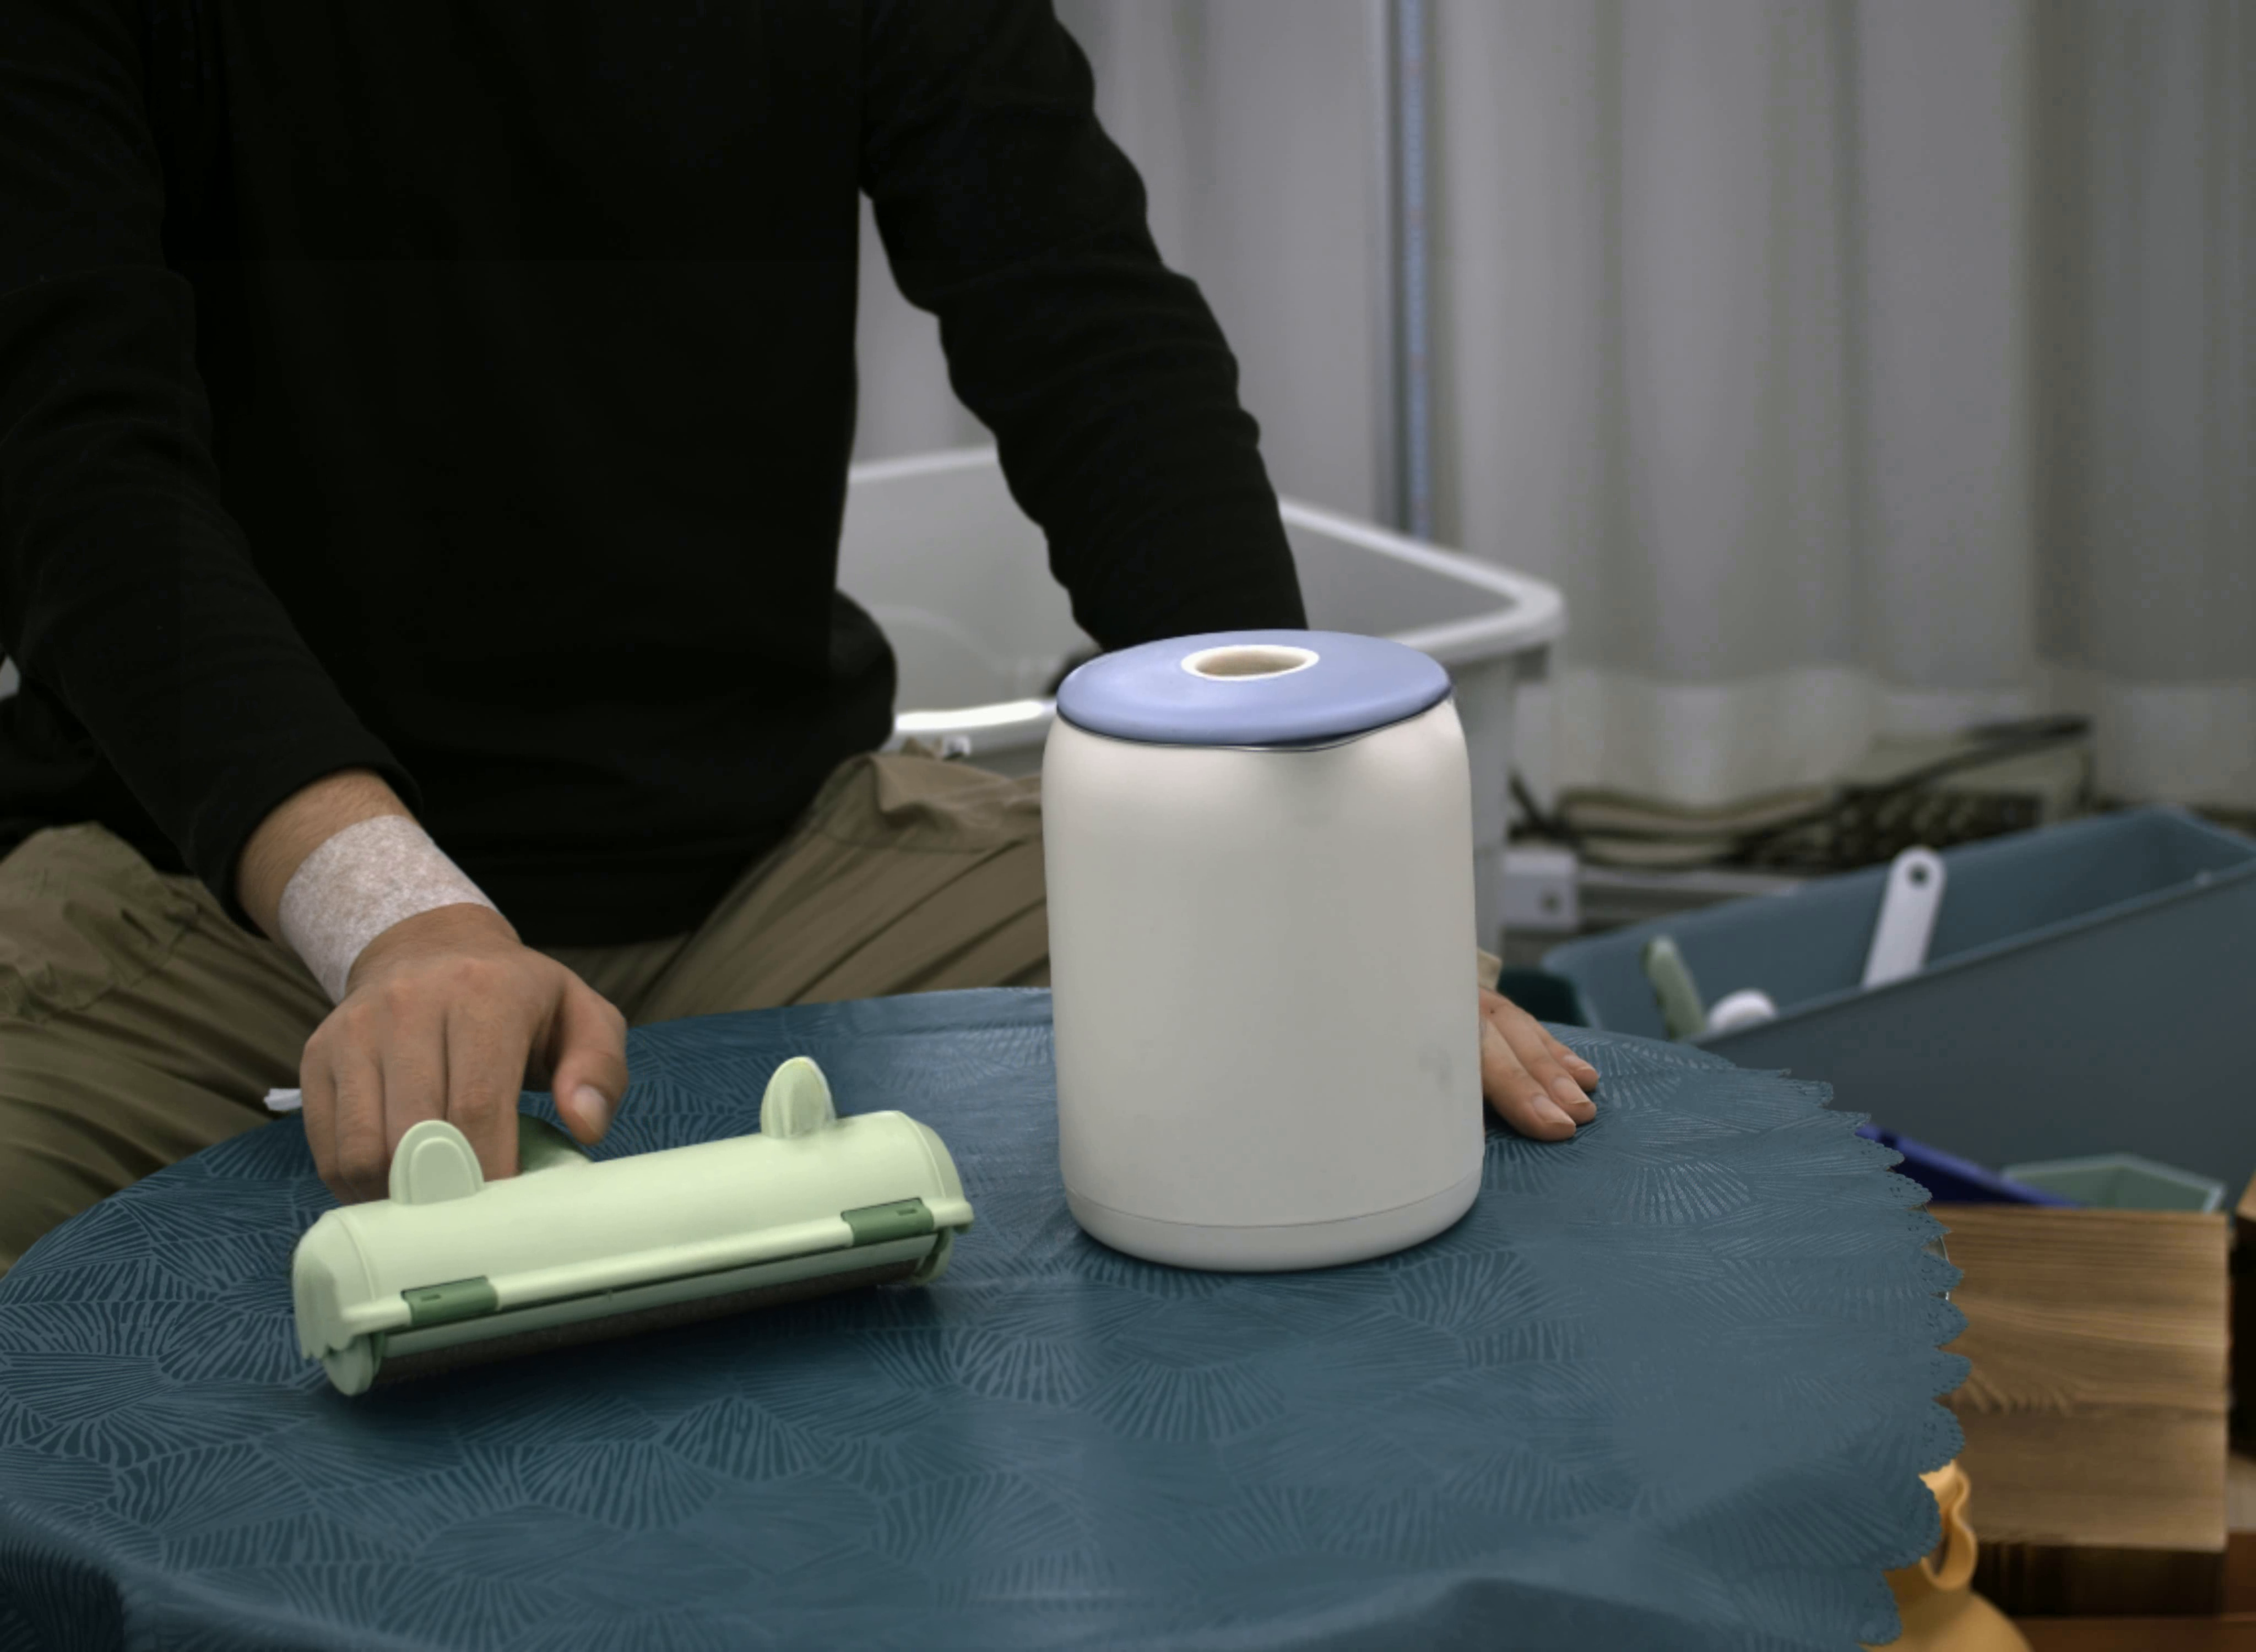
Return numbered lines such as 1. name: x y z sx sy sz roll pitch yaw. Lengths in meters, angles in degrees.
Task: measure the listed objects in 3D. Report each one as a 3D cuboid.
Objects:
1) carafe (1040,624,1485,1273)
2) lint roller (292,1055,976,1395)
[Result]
1. carafe: 0.034 0.031 1.692 0.131 0.182 0.192 -6 12 -15
2. lint roller: -0.168 0.100 1.641 0.197 0.082 0.185 -8 22 -25
